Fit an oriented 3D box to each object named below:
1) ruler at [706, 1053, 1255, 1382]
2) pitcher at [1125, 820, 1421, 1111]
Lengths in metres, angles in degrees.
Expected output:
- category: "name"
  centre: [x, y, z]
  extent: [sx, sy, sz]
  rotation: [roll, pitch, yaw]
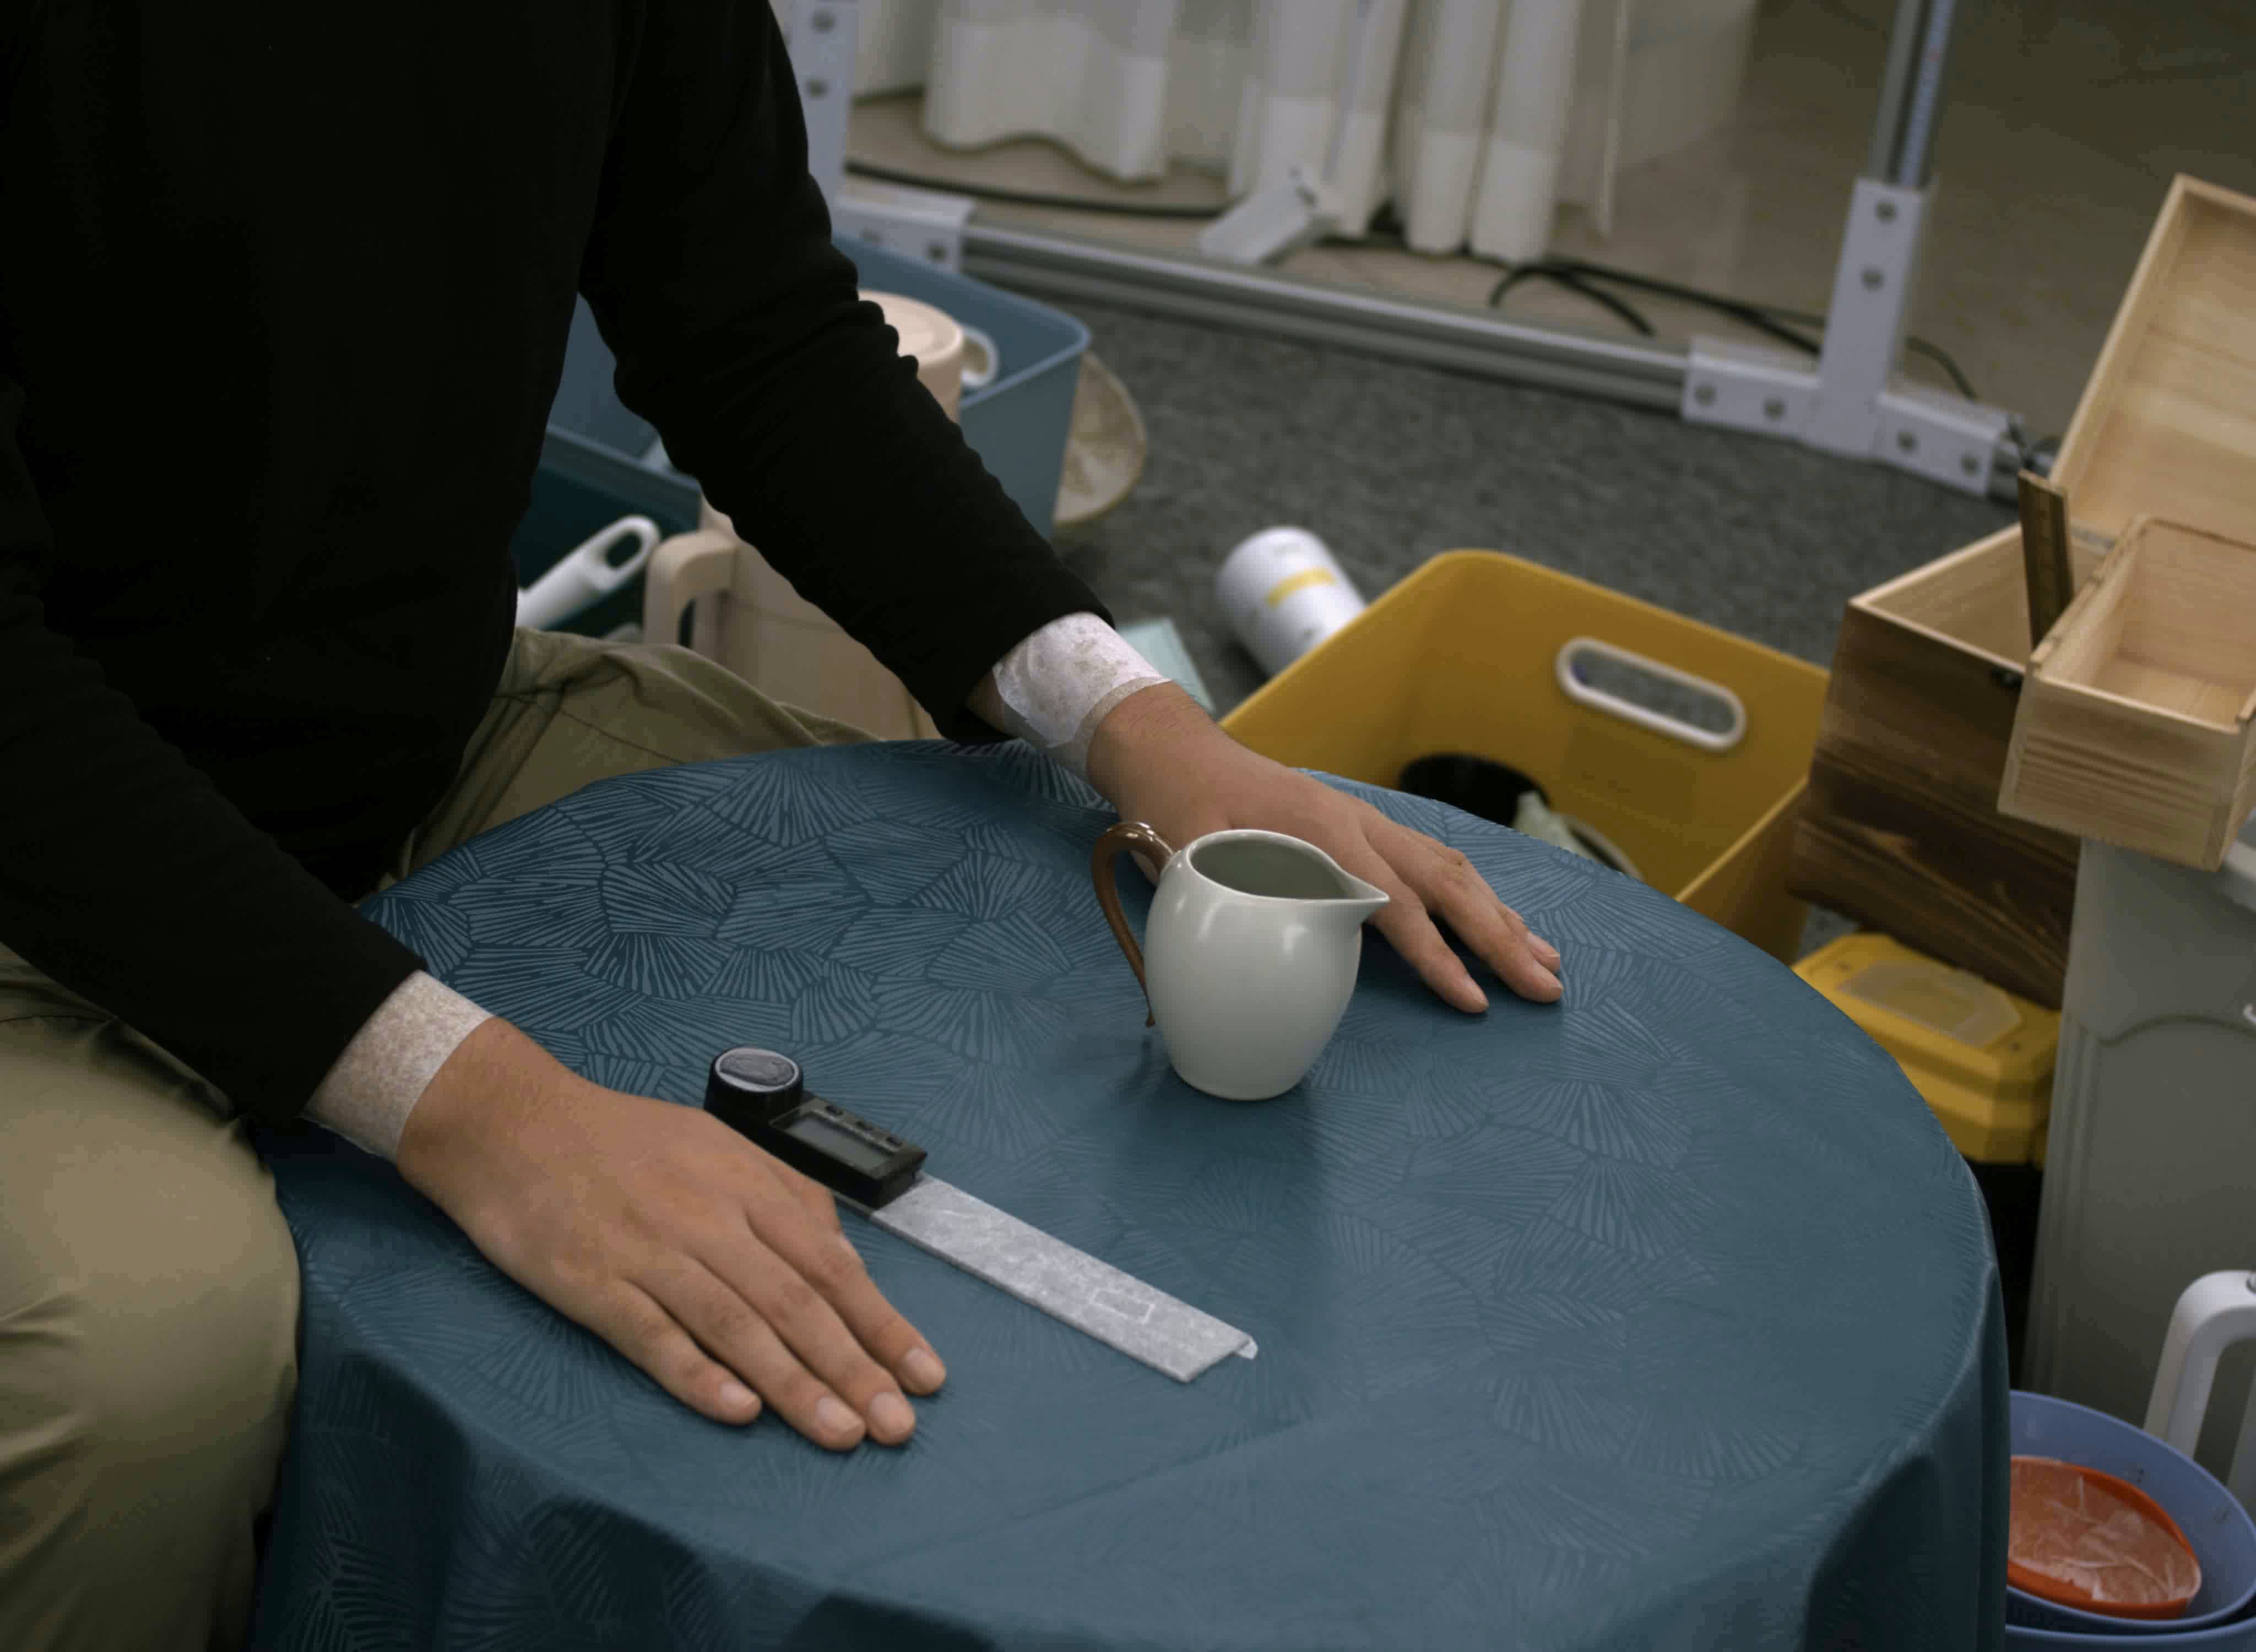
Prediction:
- category: "ruler"
  centre: [-0.054, 0.126, 1.760]
  extent: [0.219, 0.024, 0.038]
  rotation: [23, 38, 32]
- category: "pitcher"
  centre: [0.044, 0.048, 1.864]
  extent: [0.120, 0.087, 0.075]
  rotation: [25, 28, 29]
